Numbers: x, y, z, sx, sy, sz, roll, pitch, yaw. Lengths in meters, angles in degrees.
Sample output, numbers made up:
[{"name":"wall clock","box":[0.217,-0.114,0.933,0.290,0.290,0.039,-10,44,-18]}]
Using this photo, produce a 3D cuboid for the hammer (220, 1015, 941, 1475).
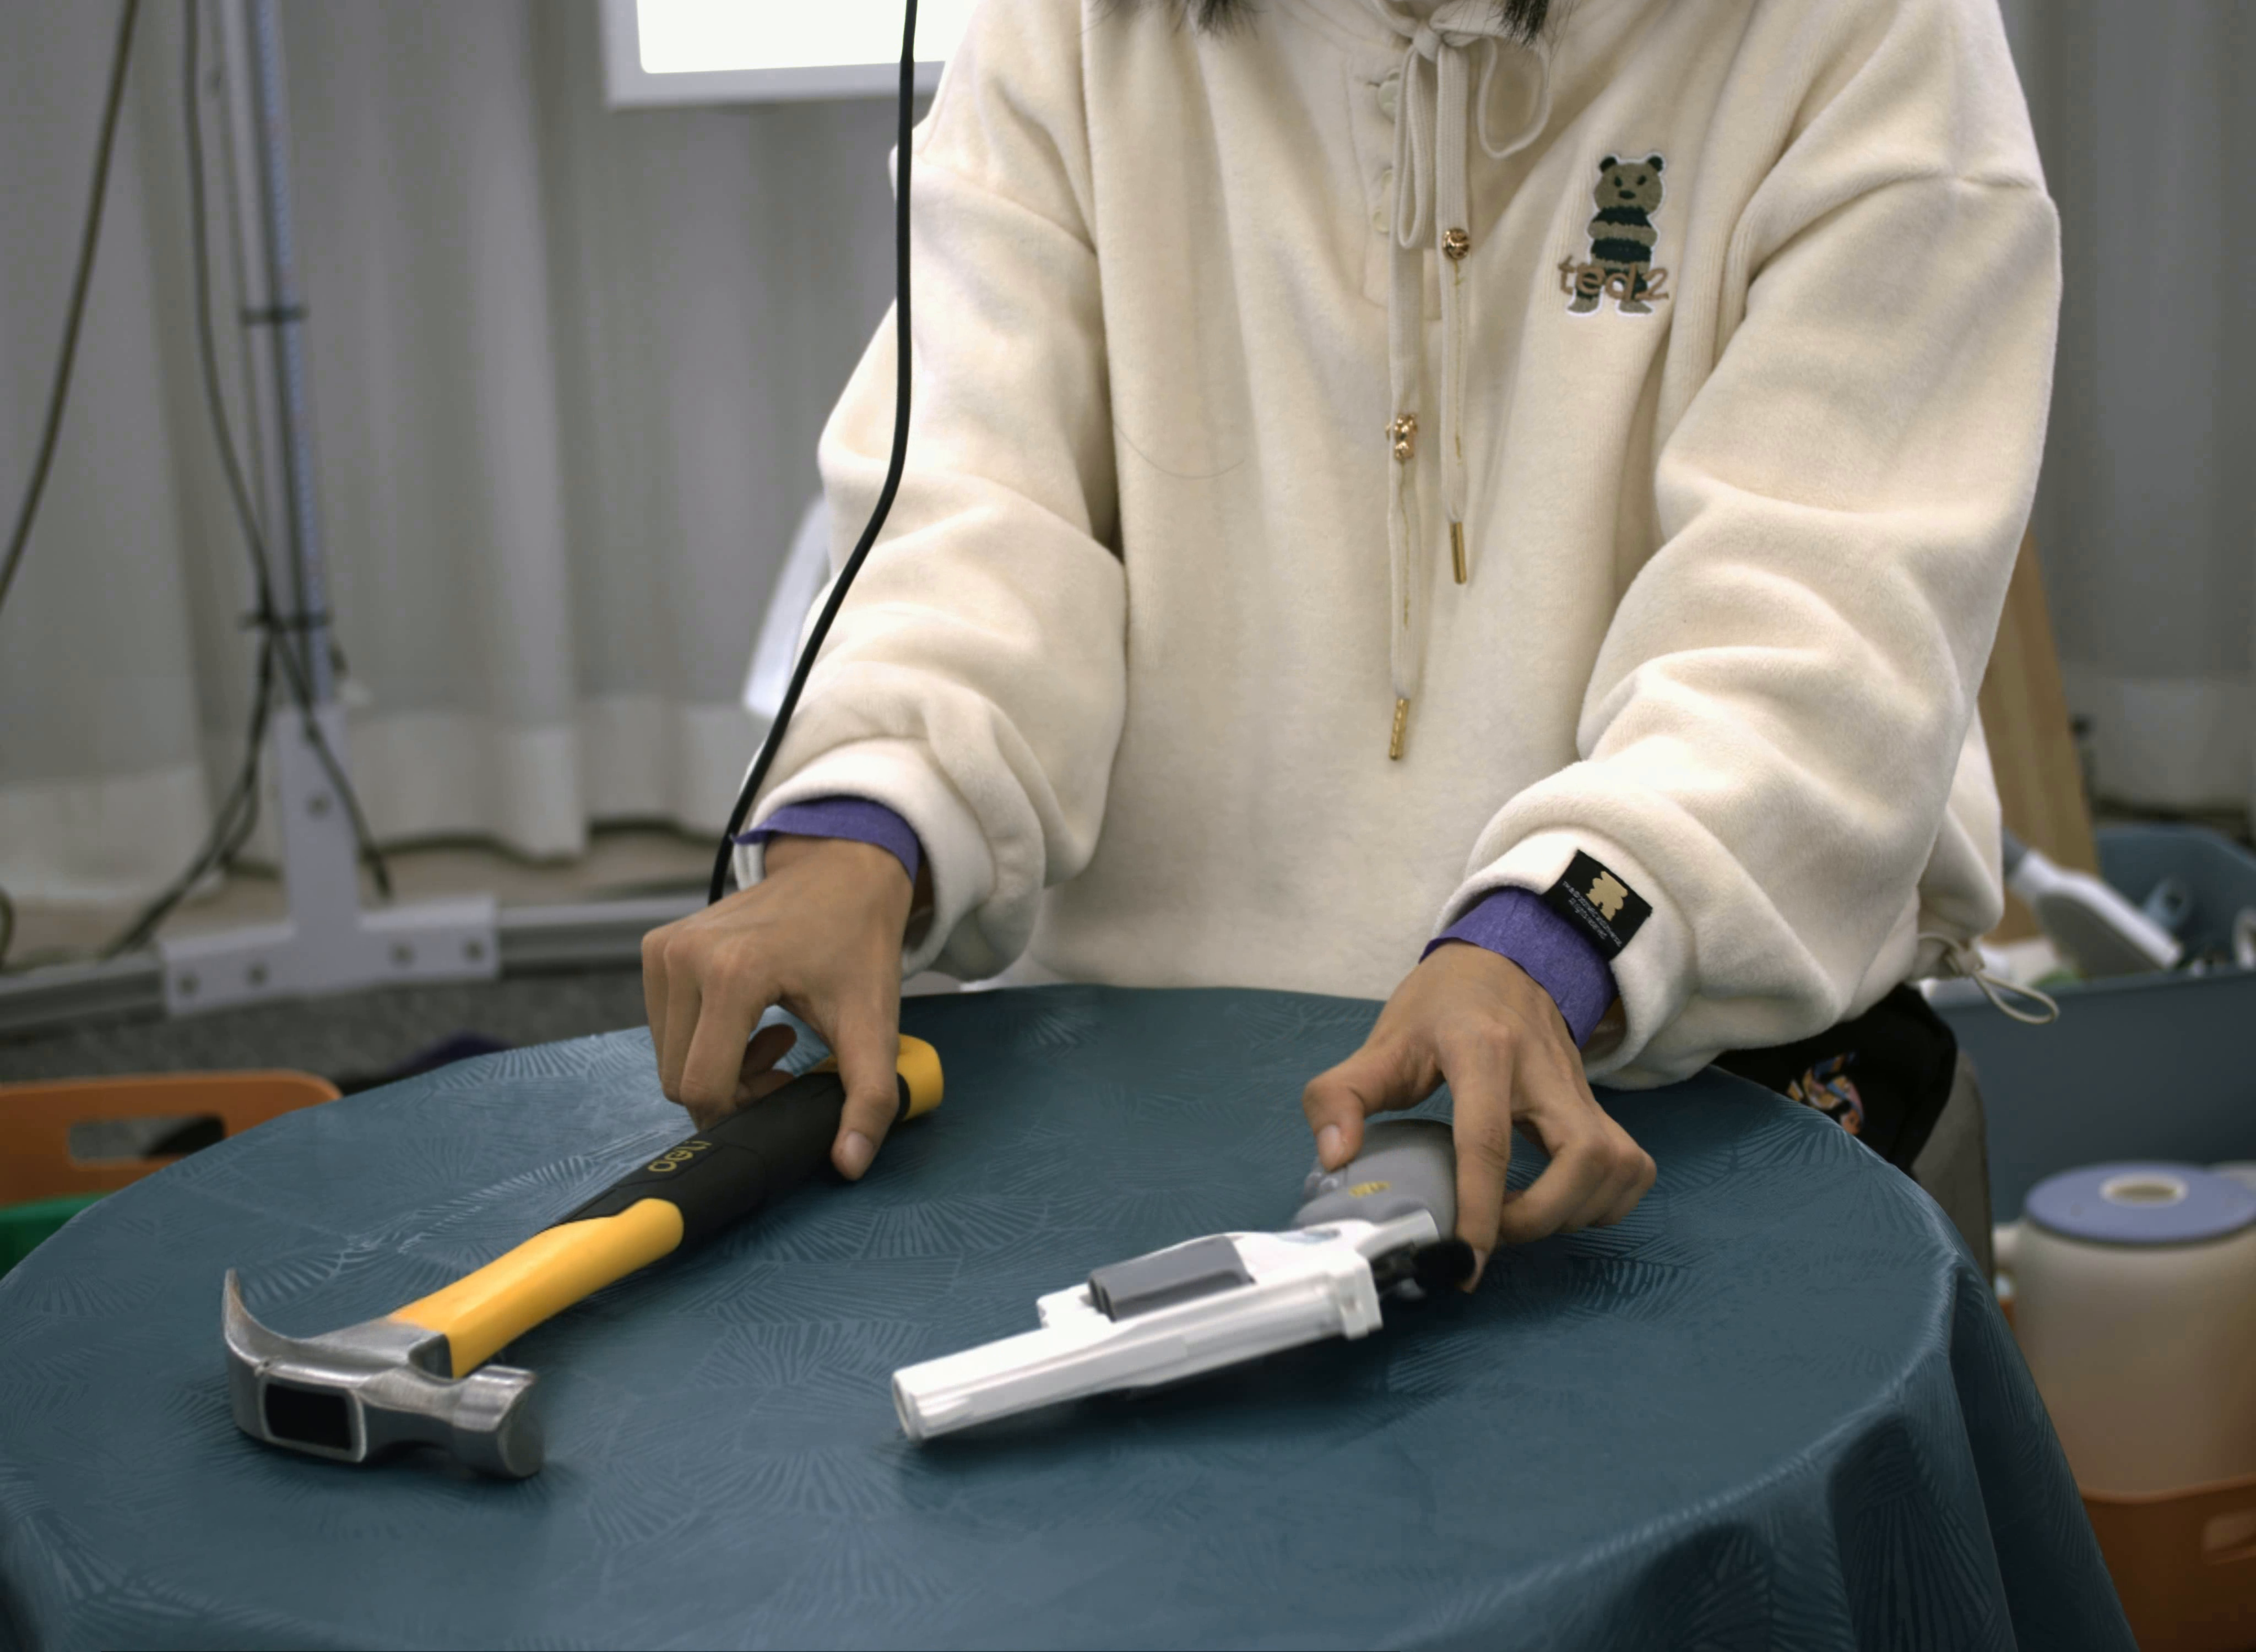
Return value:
[{"name":"hammer","box":[-0.151,0.118,1.659,0.131,0.032,0.339,2,17,28]}]

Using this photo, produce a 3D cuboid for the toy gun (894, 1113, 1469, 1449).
[{"name":"toy gun","box":[0.020,0.131,1.576,0.208,0.039,0.142,-16,9,-15]}]
